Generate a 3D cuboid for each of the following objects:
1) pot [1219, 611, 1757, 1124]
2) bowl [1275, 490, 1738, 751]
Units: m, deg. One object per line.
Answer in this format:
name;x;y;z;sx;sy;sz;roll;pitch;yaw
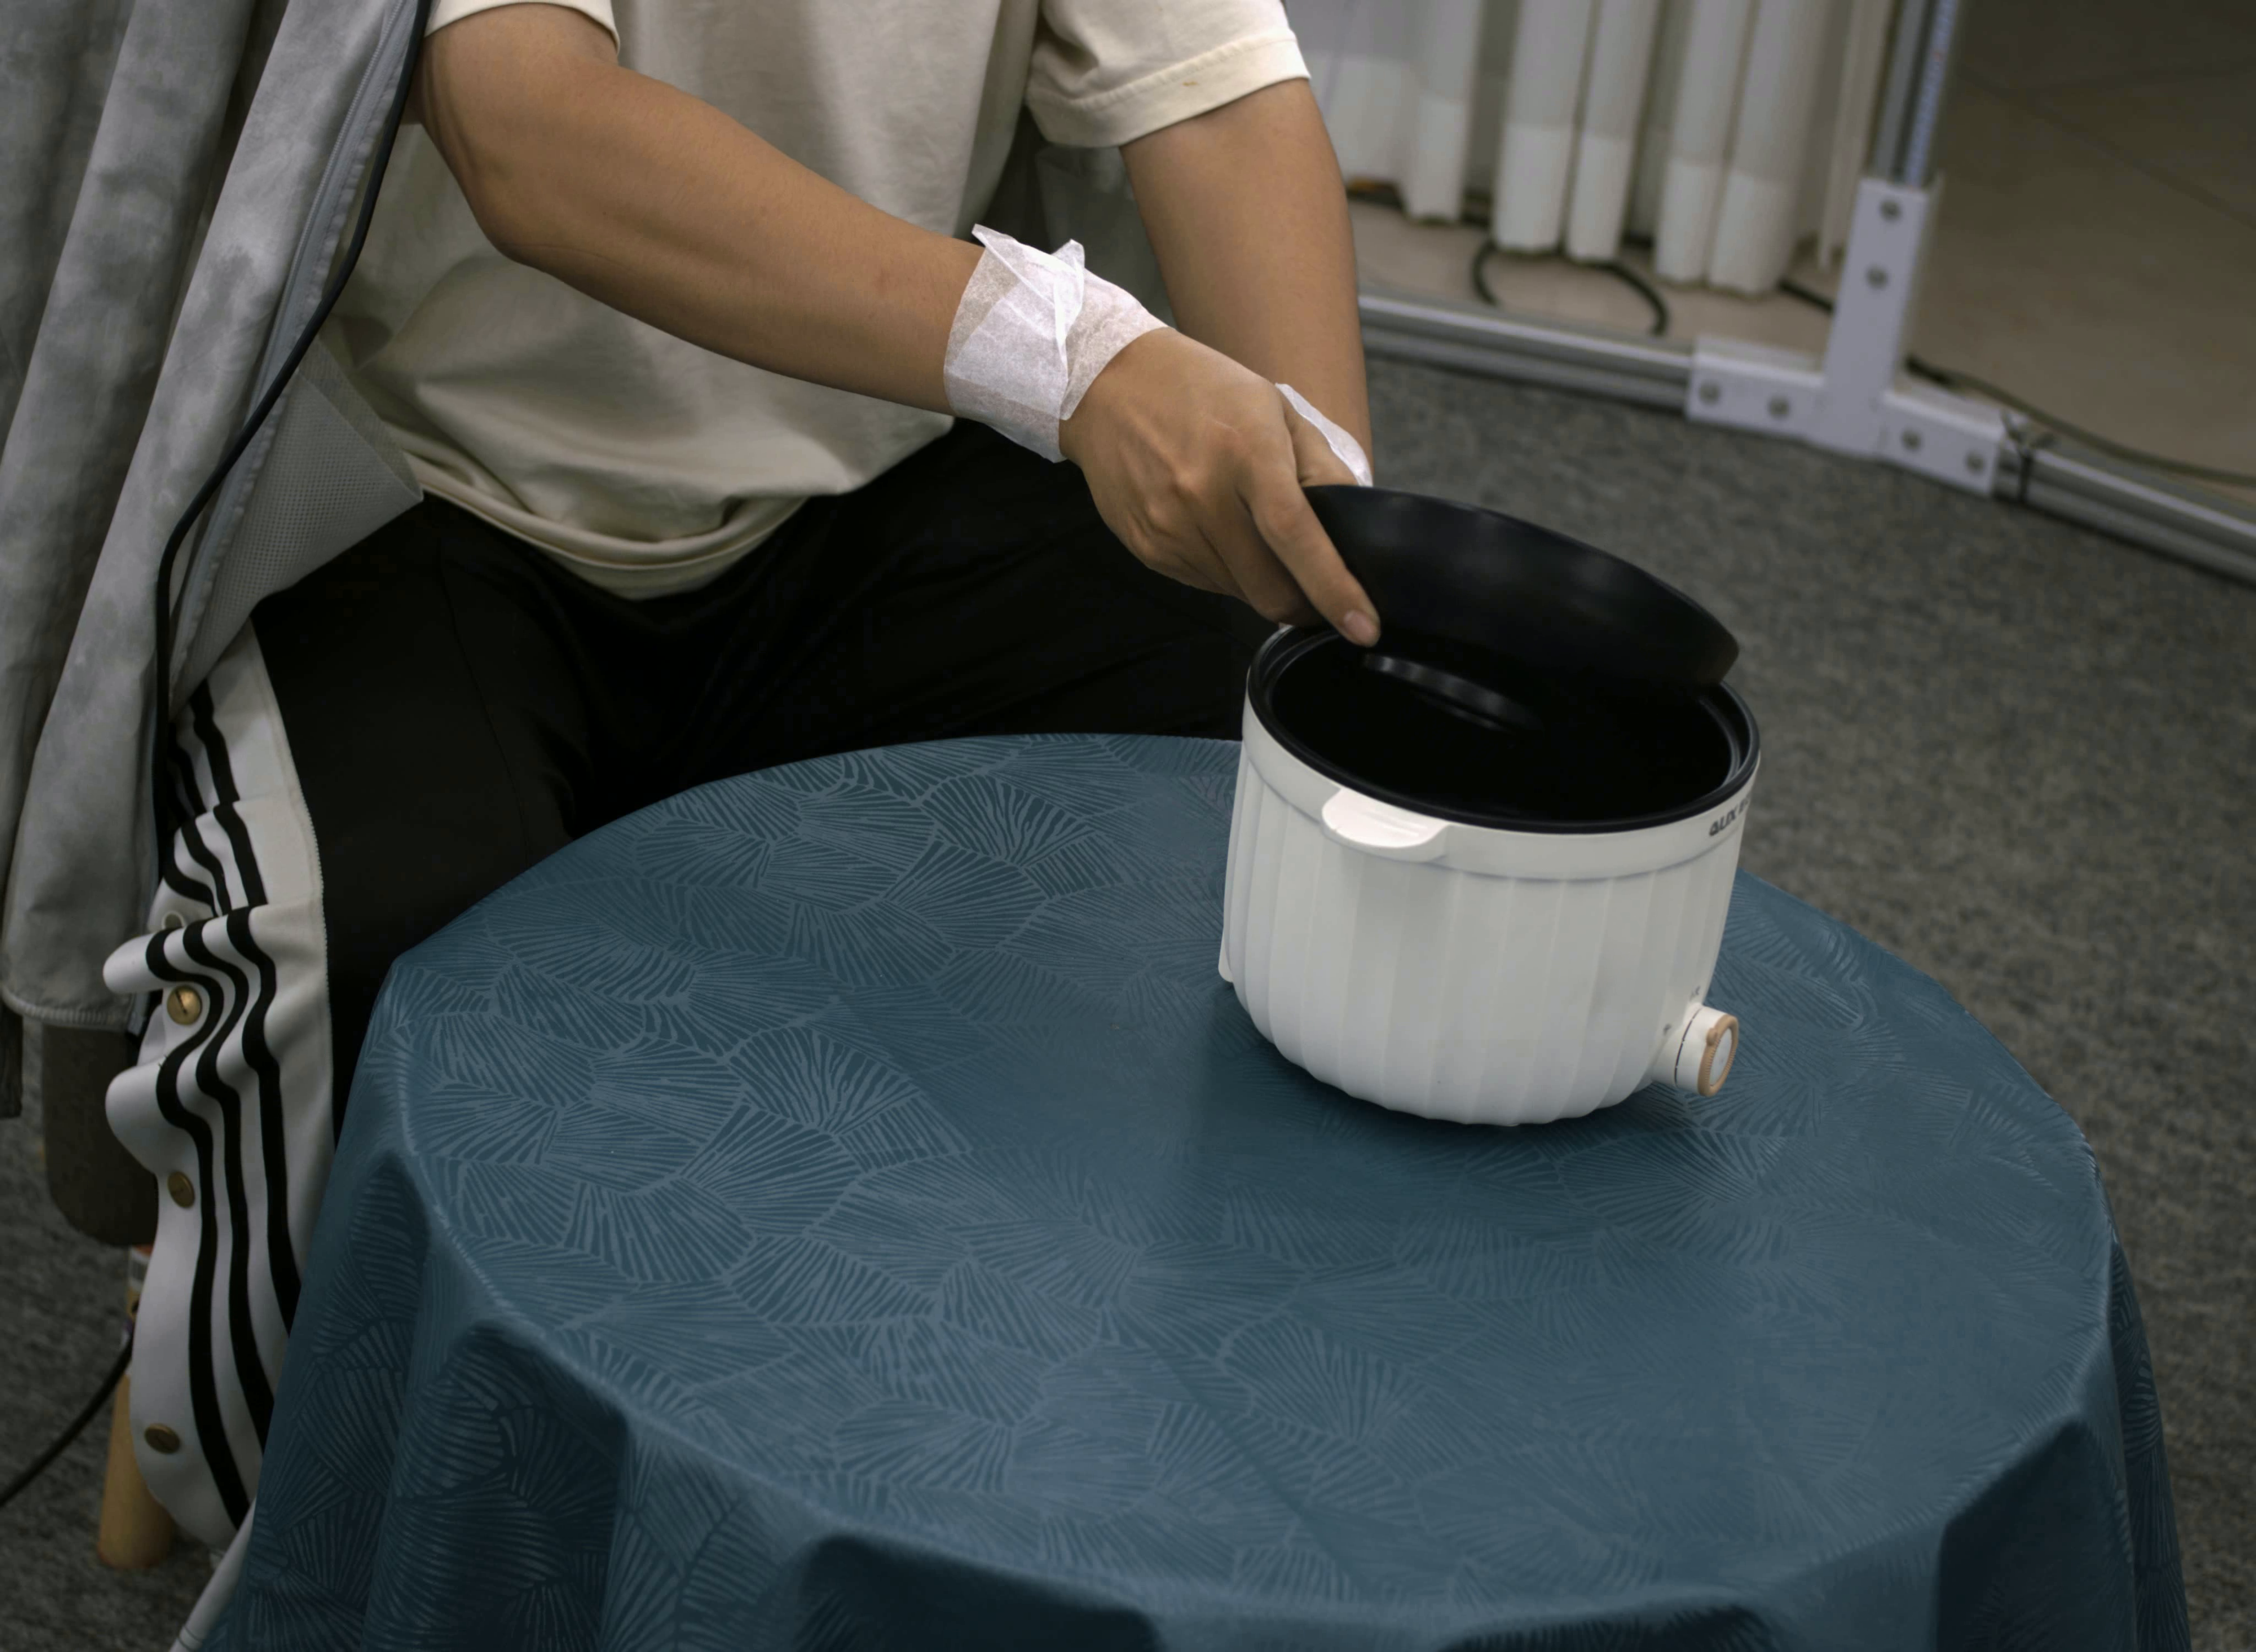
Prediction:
pot;0.129;0.017;1.891;0.191;0.142;0.240;15;28;23
bowl;0.125;-0.067;1.851;0.169;0.067;0.137;23;-5;-8
